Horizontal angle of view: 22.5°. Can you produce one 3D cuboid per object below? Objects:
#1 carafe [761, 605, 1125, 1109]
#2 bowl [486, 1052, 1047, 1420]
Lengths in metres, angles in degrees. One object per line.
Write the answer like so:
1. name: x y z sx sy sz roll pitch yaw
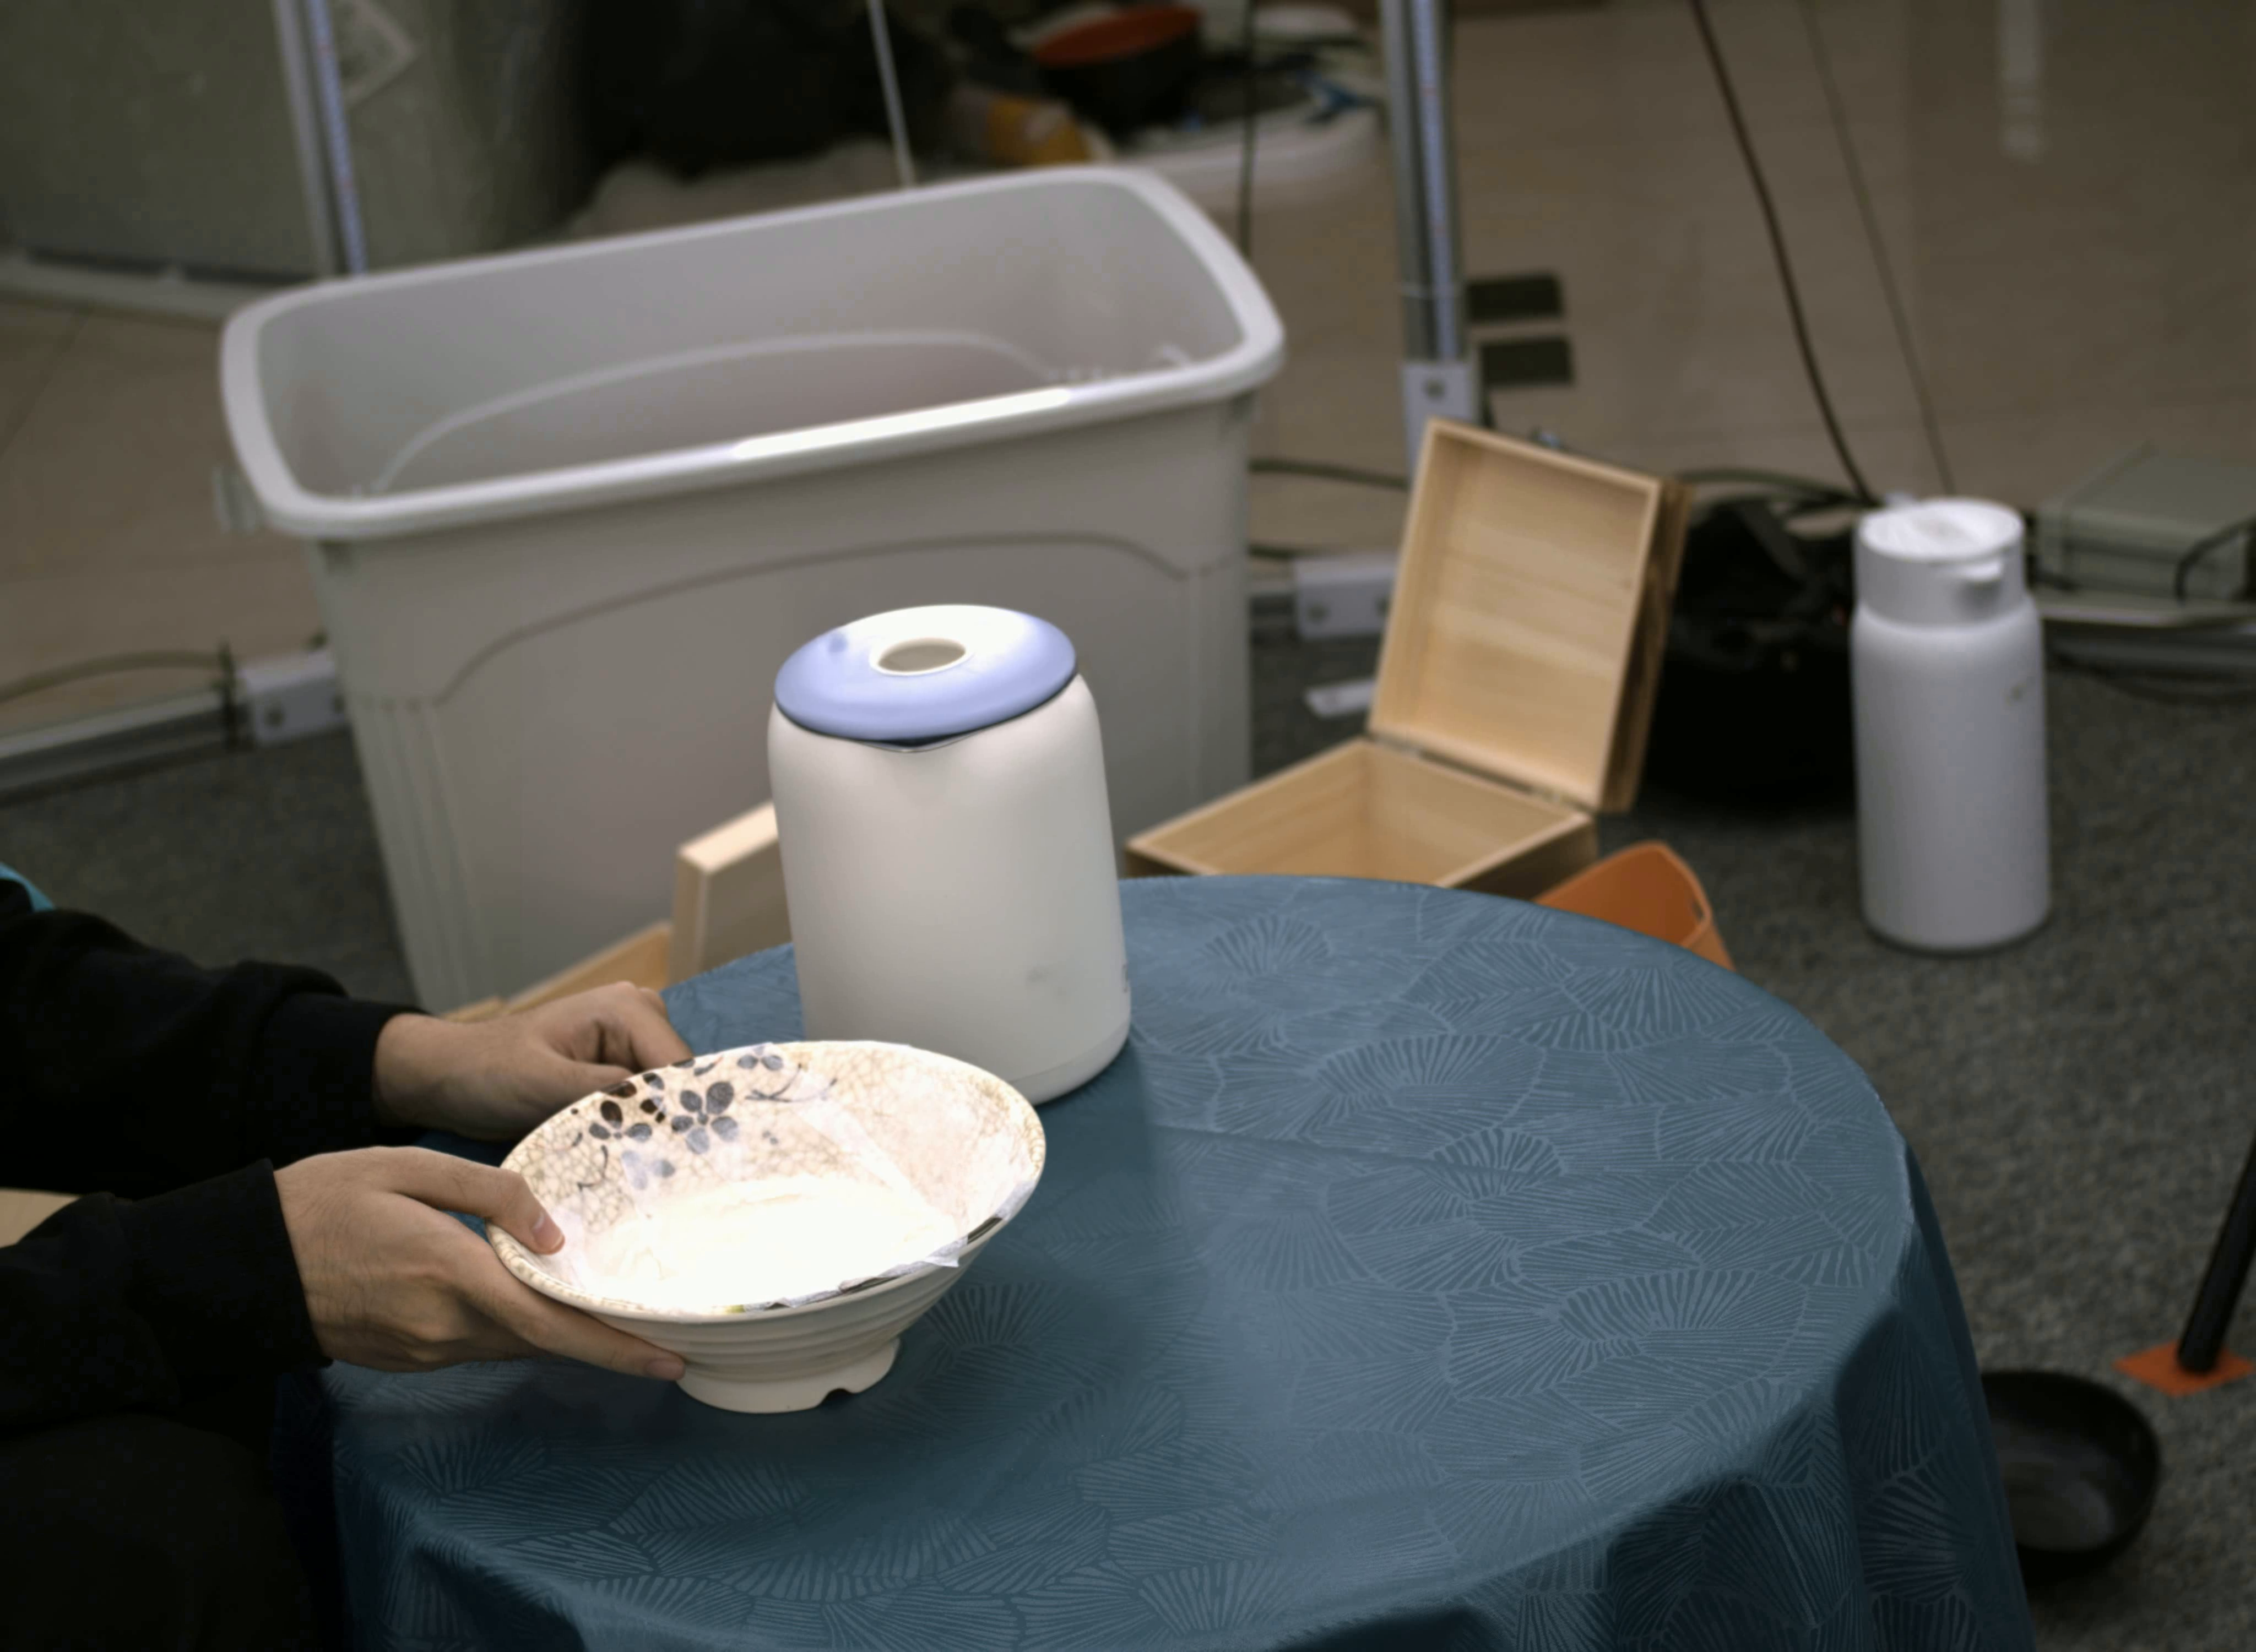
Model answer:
1. carafe: -0.073 0.004 2.246 0.132 0.185 0.188 -5 23 1
2. bowl: -0.124 0.159 2.043 0.204 0.079 0.201 -7 23 3
